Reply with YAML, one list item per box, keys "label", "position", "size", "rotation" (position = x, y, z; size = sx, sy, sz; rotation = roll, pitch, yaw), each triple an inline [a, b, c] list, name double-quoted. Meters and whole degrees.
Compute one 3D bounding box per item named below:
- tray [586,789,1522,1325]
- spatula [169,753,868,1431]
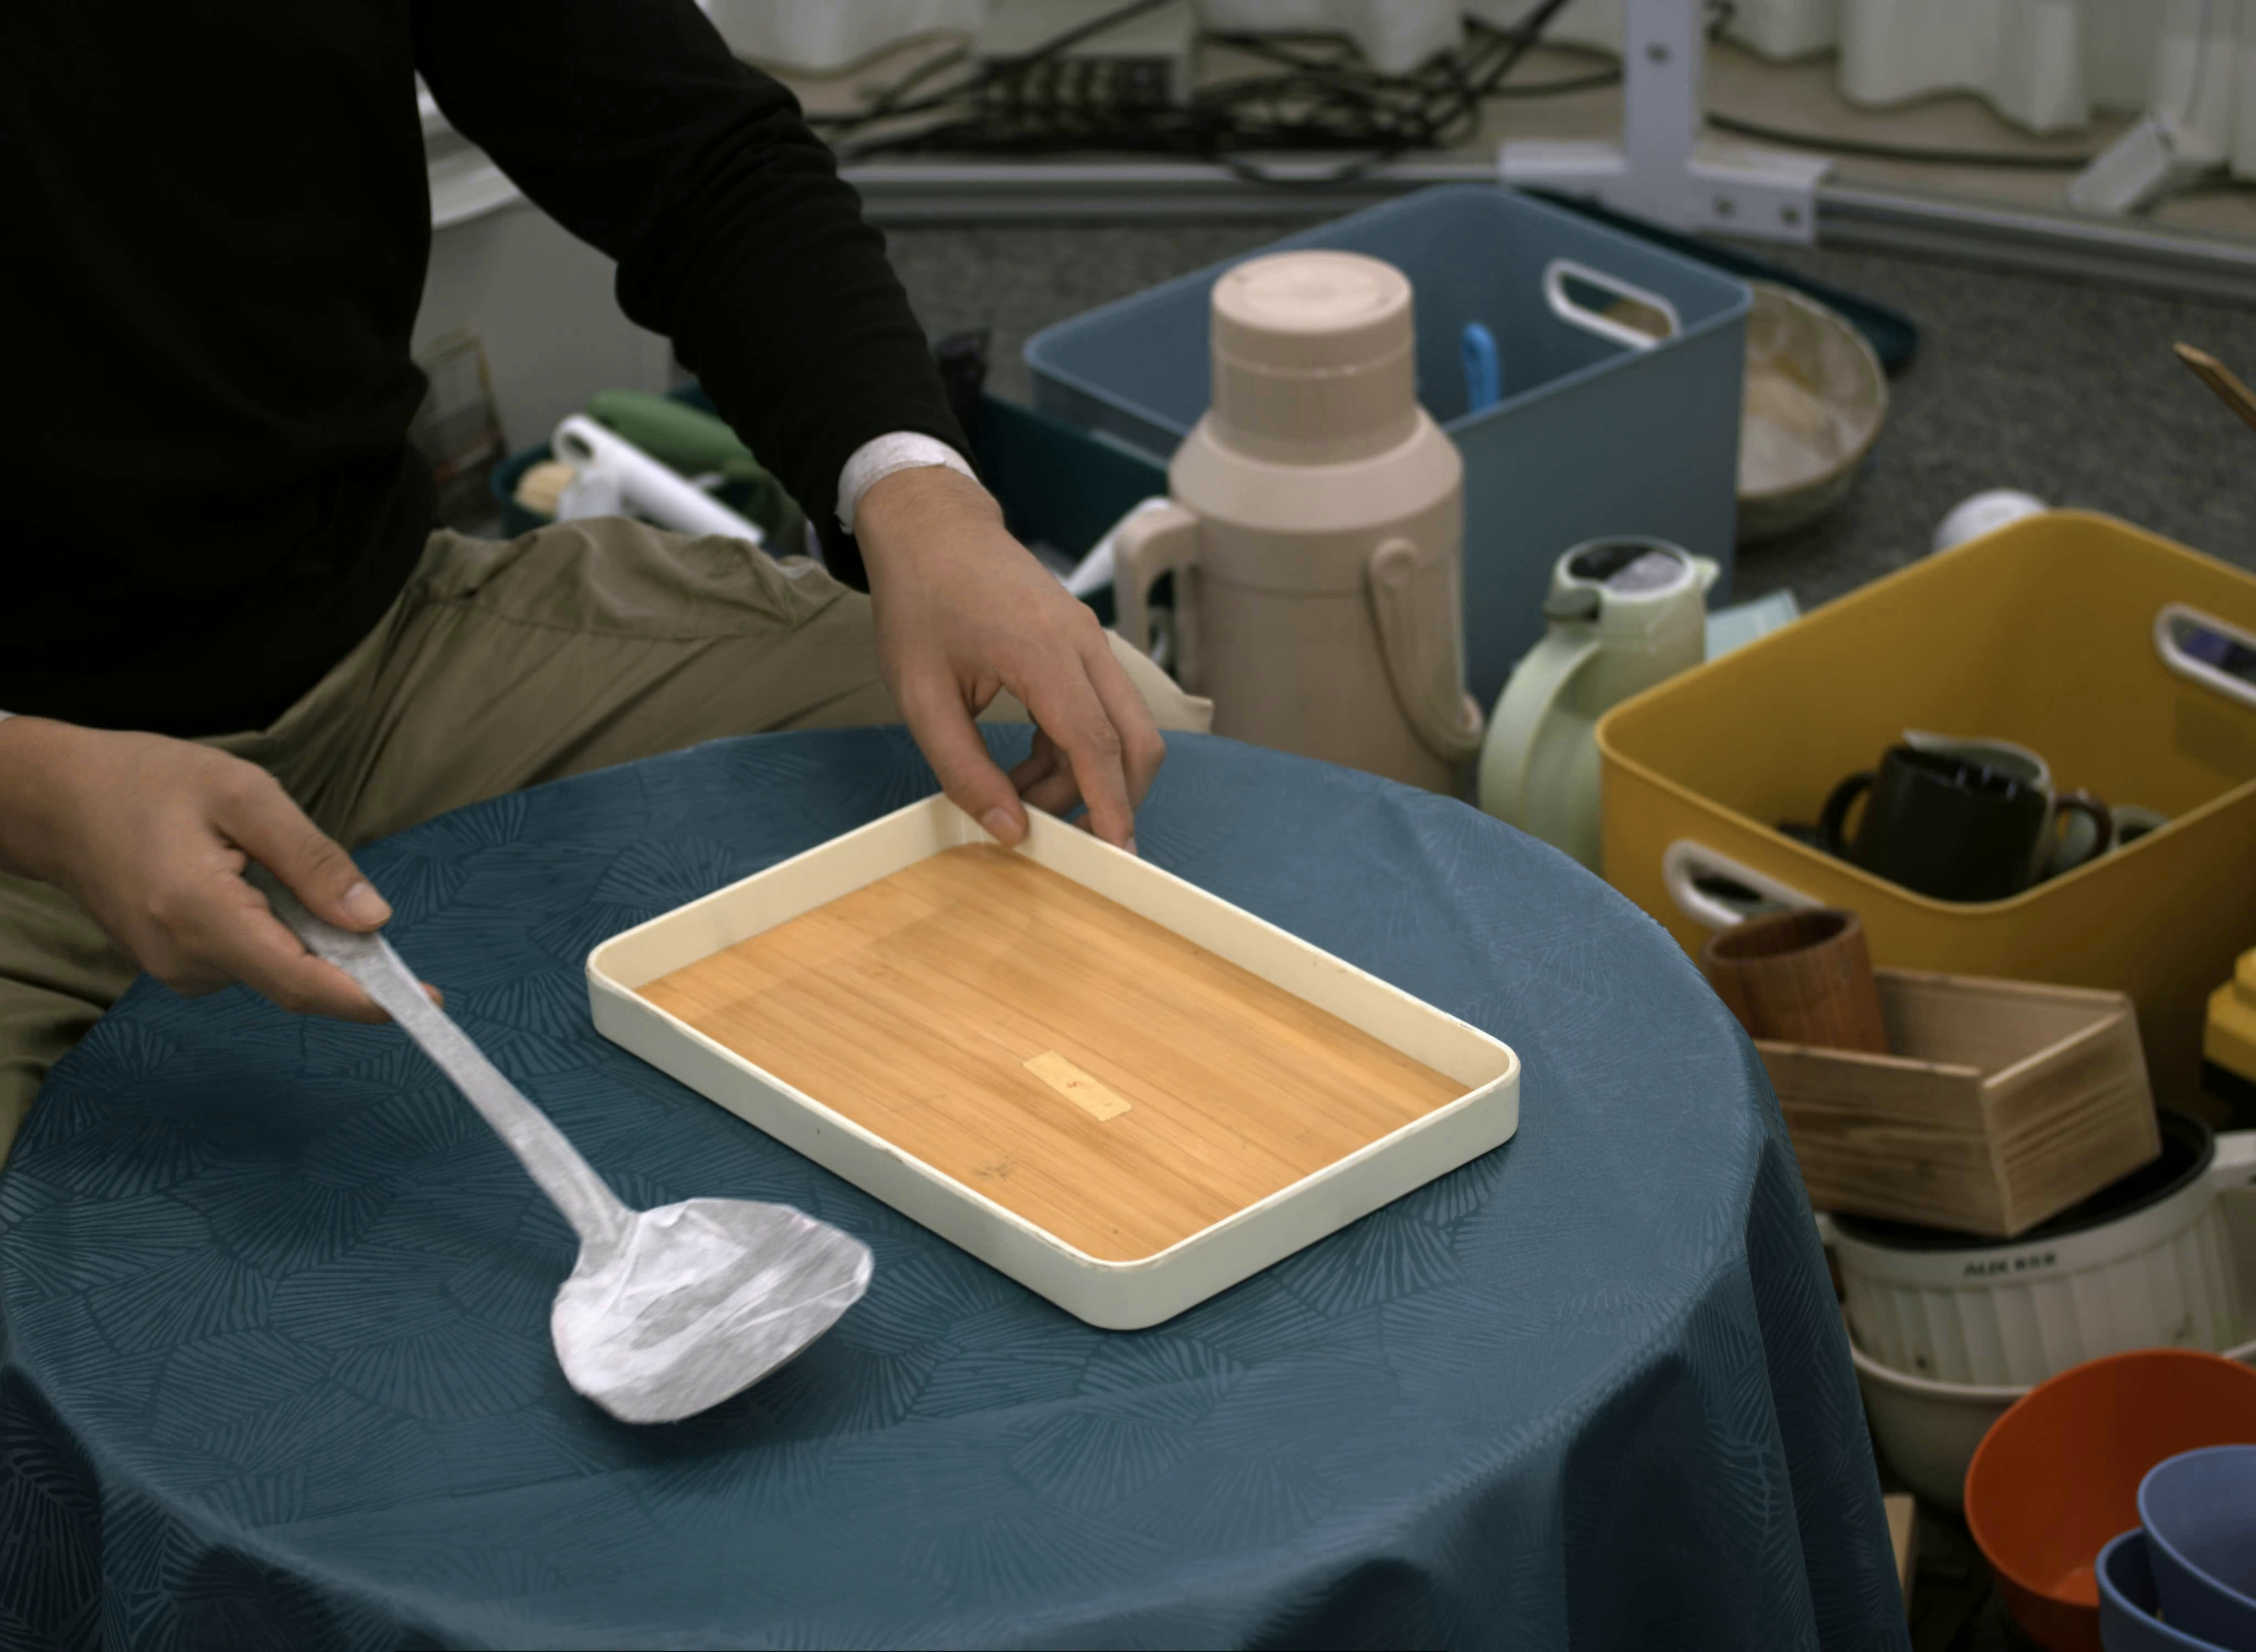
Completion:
- label: "tray"
  position: [-0.029, 0.074, 1.927]
  size: [0.193, 0.027, 0.300]
  rotation: [-24, 34, -34]
- label: "spatula"
  position: [-0.221, 0.074, 1.839]
  size: [0.099, 0.044, 0.367]
  rotation: [-34, 56, -21]
